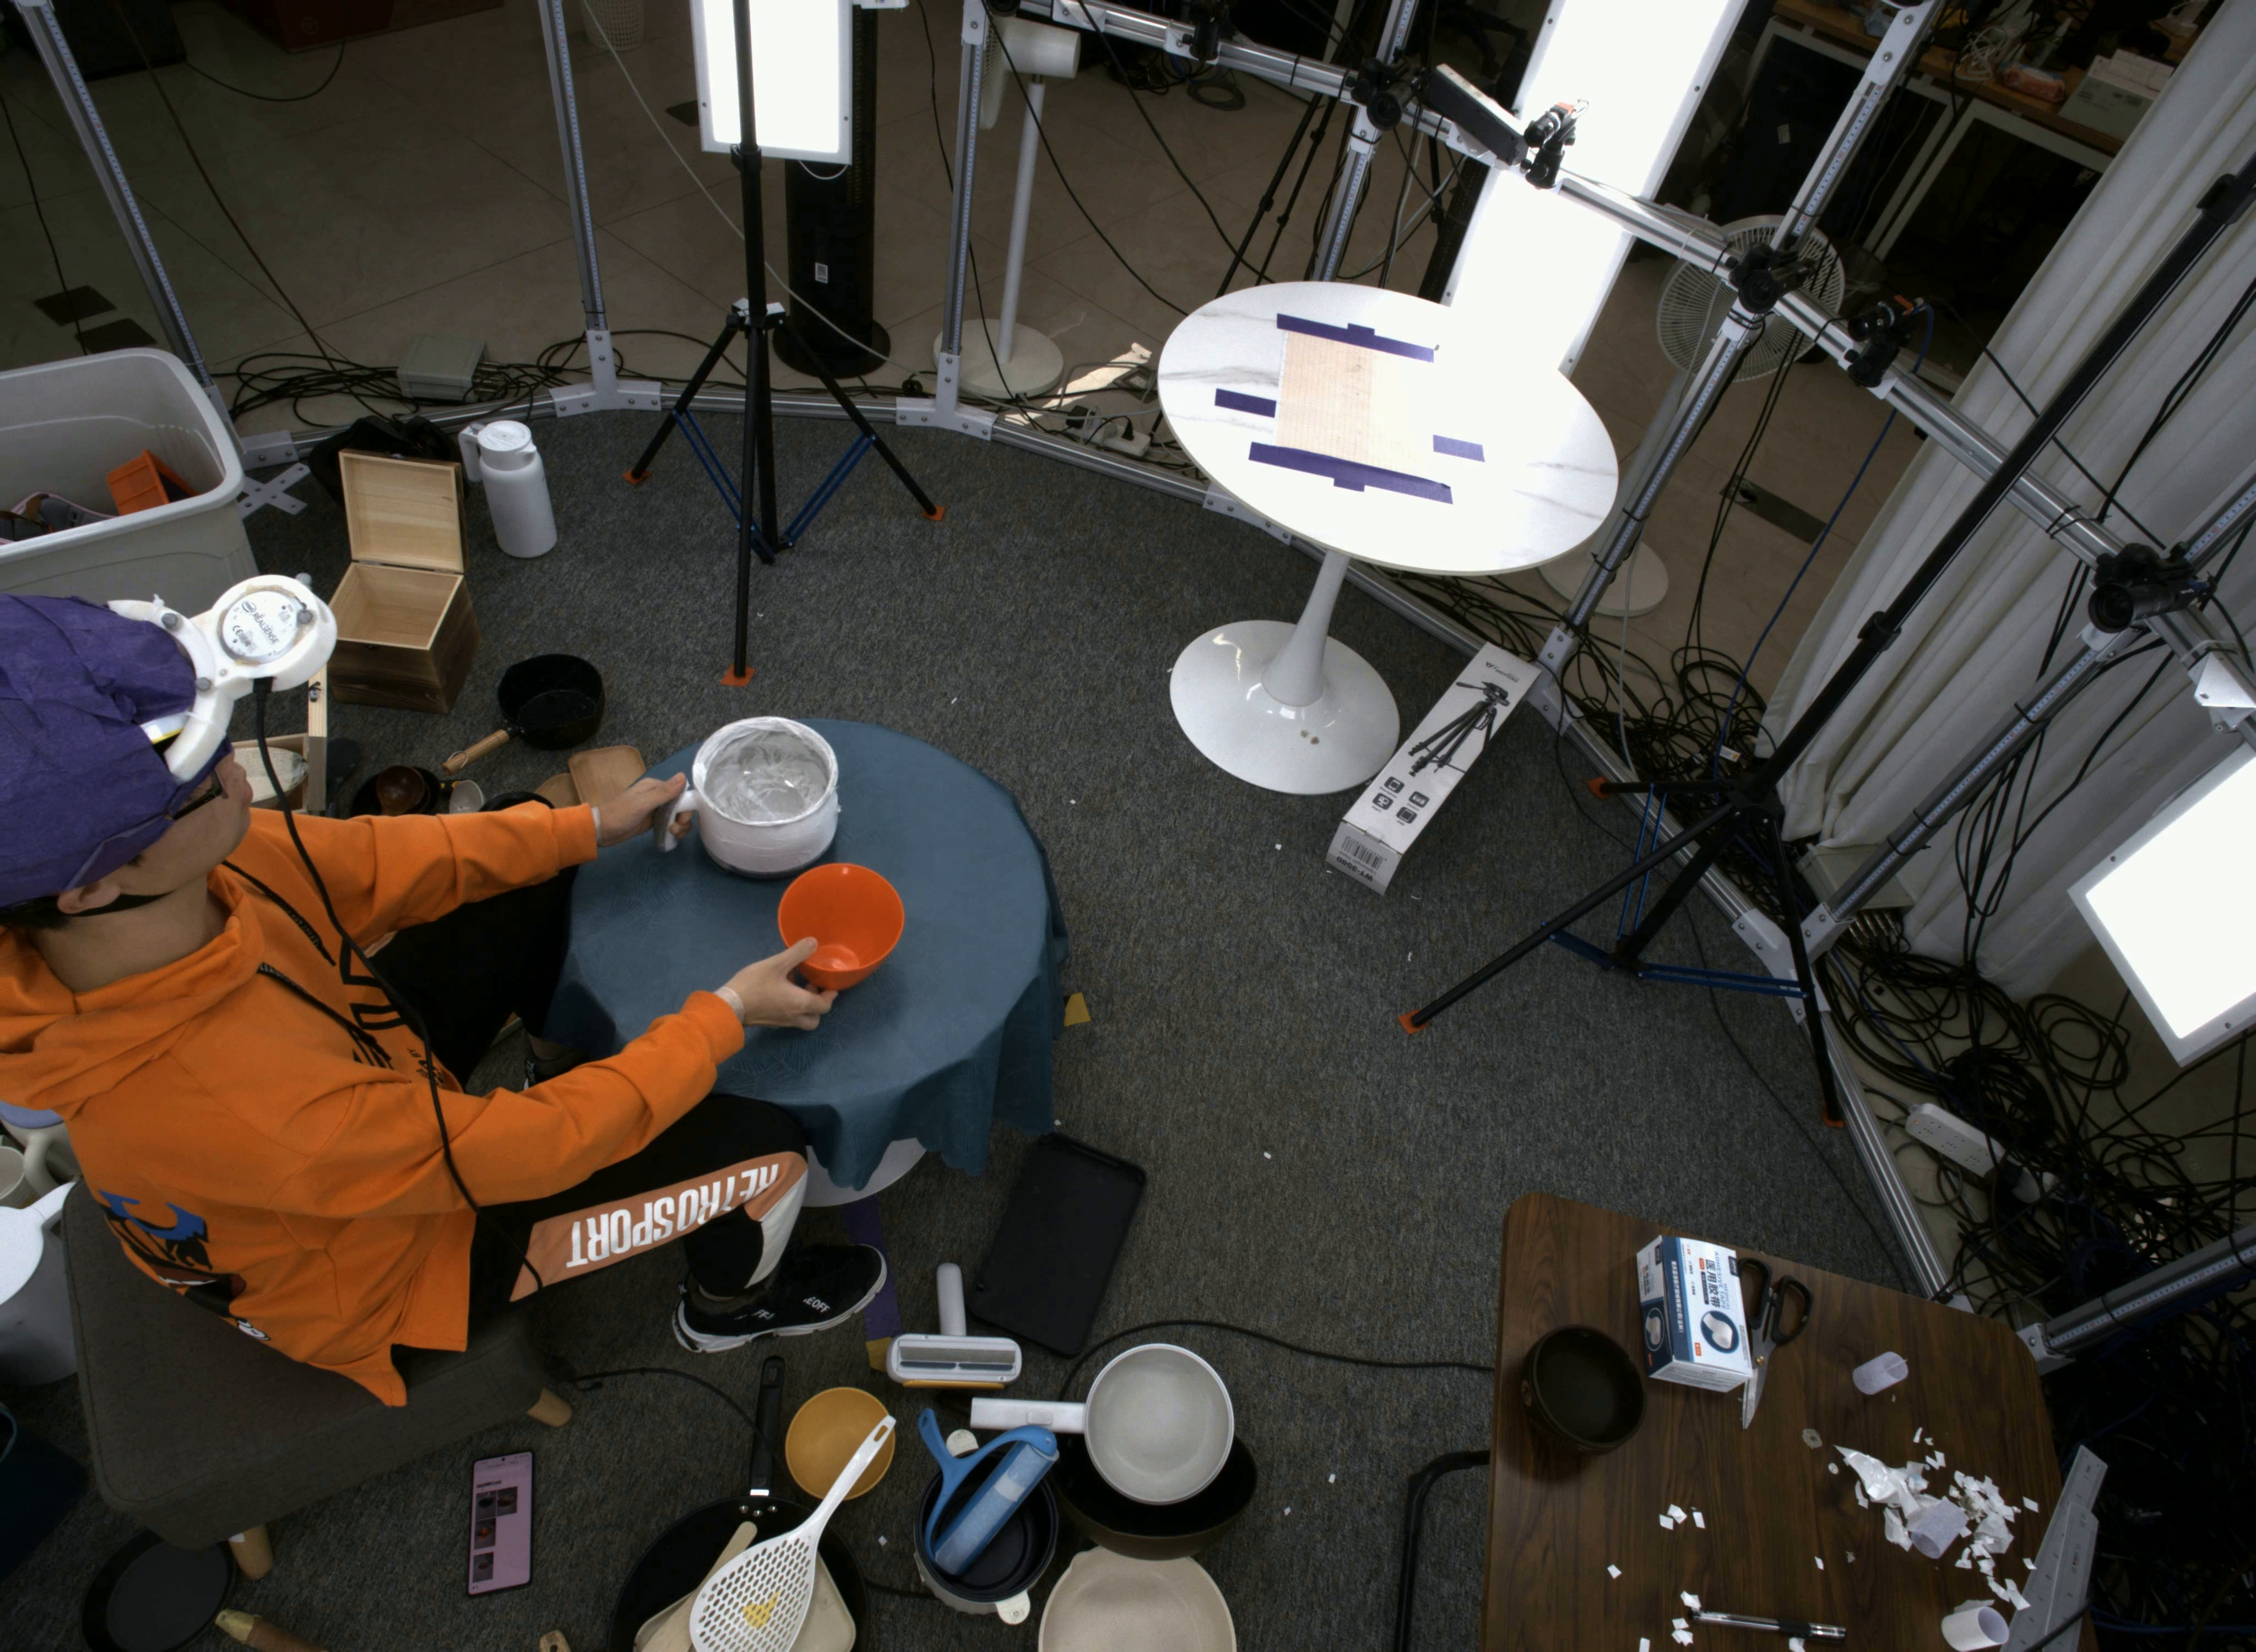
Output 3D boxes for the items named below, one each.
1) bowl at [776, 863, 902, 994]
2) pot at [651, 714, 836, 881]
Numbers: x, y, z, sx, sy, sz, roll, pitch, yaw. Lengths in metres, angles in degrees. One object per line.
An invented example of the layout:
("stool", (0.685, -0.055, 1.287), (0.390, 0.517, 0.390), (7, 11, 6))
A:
("bowl", (-0.348, 0.133, 1.559), (0.148, 0.107, 0.145), (10, 47, -10))
("pot", (-0.485, -0.027, 1.629), (0.235, 0.139, 0.174), (-13, 56, -23))
